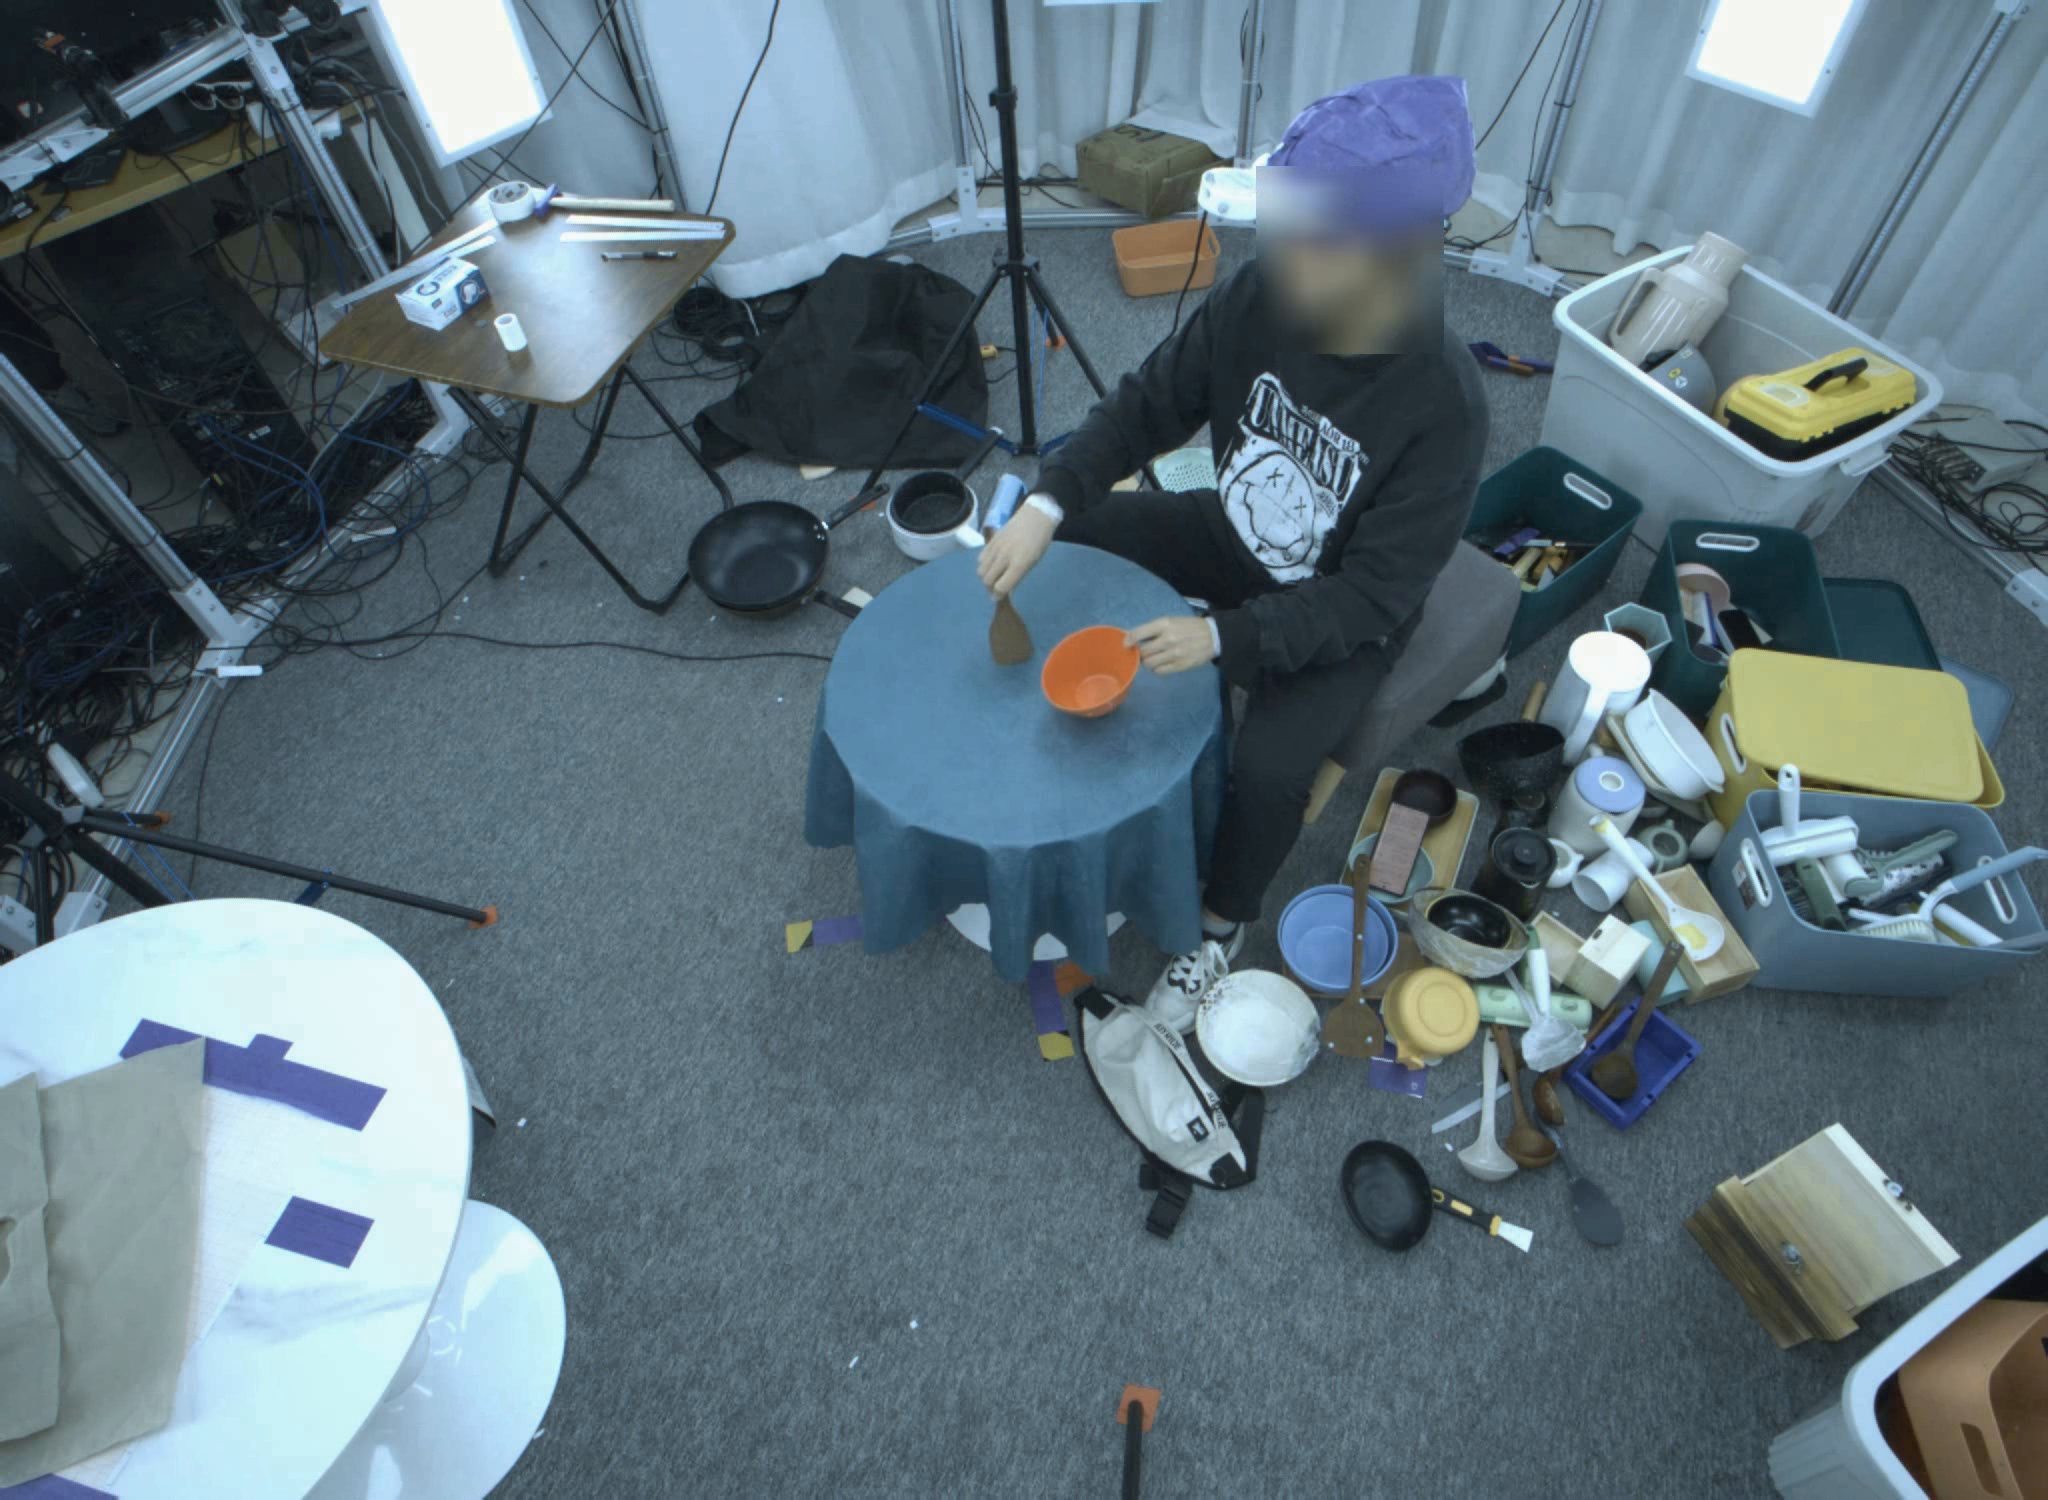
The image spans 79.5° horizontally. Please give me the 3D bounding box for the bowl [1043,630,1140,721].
[{"bbox_3d":[0.106,-0.093,1.788,0.147,0.106,0.146,-7,62,14],"label":"bowl"}]

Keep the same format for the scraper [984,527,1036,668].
[{"bbox_3d":[-0.031,-0.227,1.823,0.077,0.010,0.211,-11,92,-36],"label":"scraper"}]
